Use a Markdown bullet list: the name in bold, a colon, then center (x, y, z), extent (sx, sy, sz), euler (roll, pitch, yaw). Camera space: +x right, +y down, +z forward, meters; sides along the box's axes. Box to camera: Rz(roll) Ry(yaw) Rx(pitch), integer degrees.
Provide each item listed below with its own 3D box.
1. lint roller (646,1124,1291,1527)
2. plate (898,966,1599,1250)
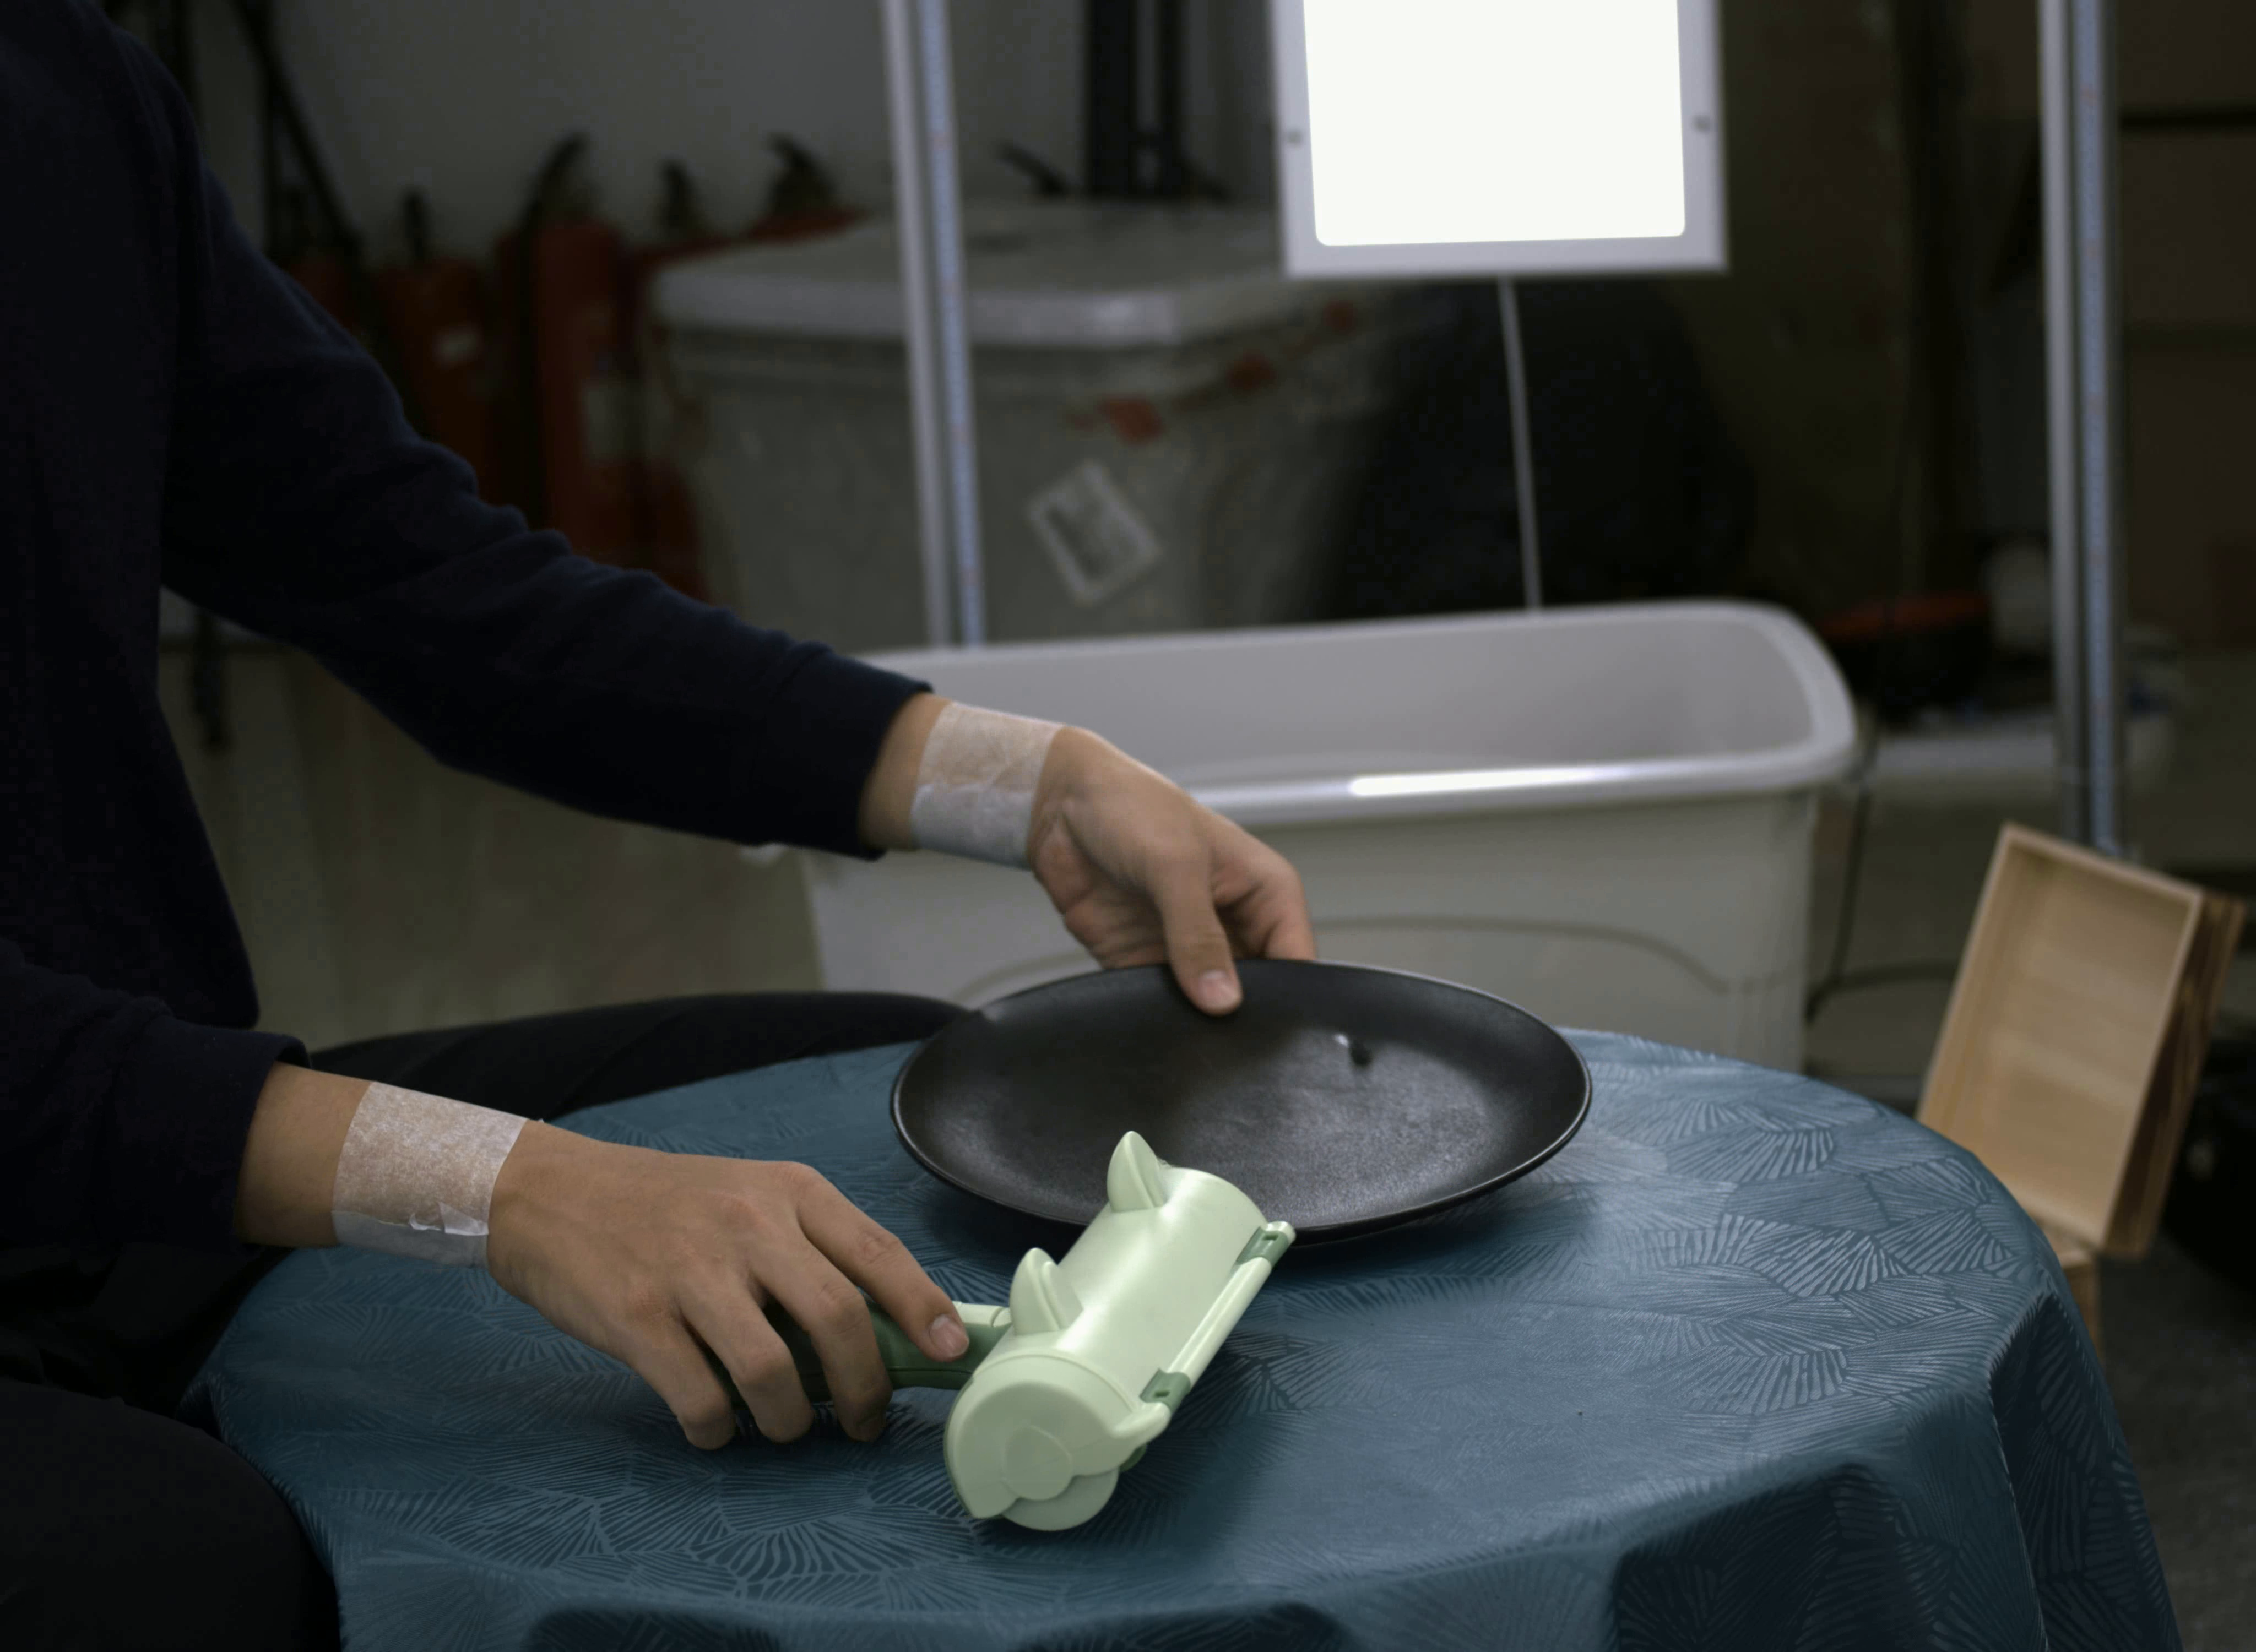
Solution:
- **lint roller**: center (-0.058, 0.140, 1.674), extent (0.185, 0.082, 0.196), euler (7, 16, 14)
- **plate**: center (0.042, 0.100, 1.902), extent (0.244, 0.023, 0.244), euler (-4, 19, 0)
